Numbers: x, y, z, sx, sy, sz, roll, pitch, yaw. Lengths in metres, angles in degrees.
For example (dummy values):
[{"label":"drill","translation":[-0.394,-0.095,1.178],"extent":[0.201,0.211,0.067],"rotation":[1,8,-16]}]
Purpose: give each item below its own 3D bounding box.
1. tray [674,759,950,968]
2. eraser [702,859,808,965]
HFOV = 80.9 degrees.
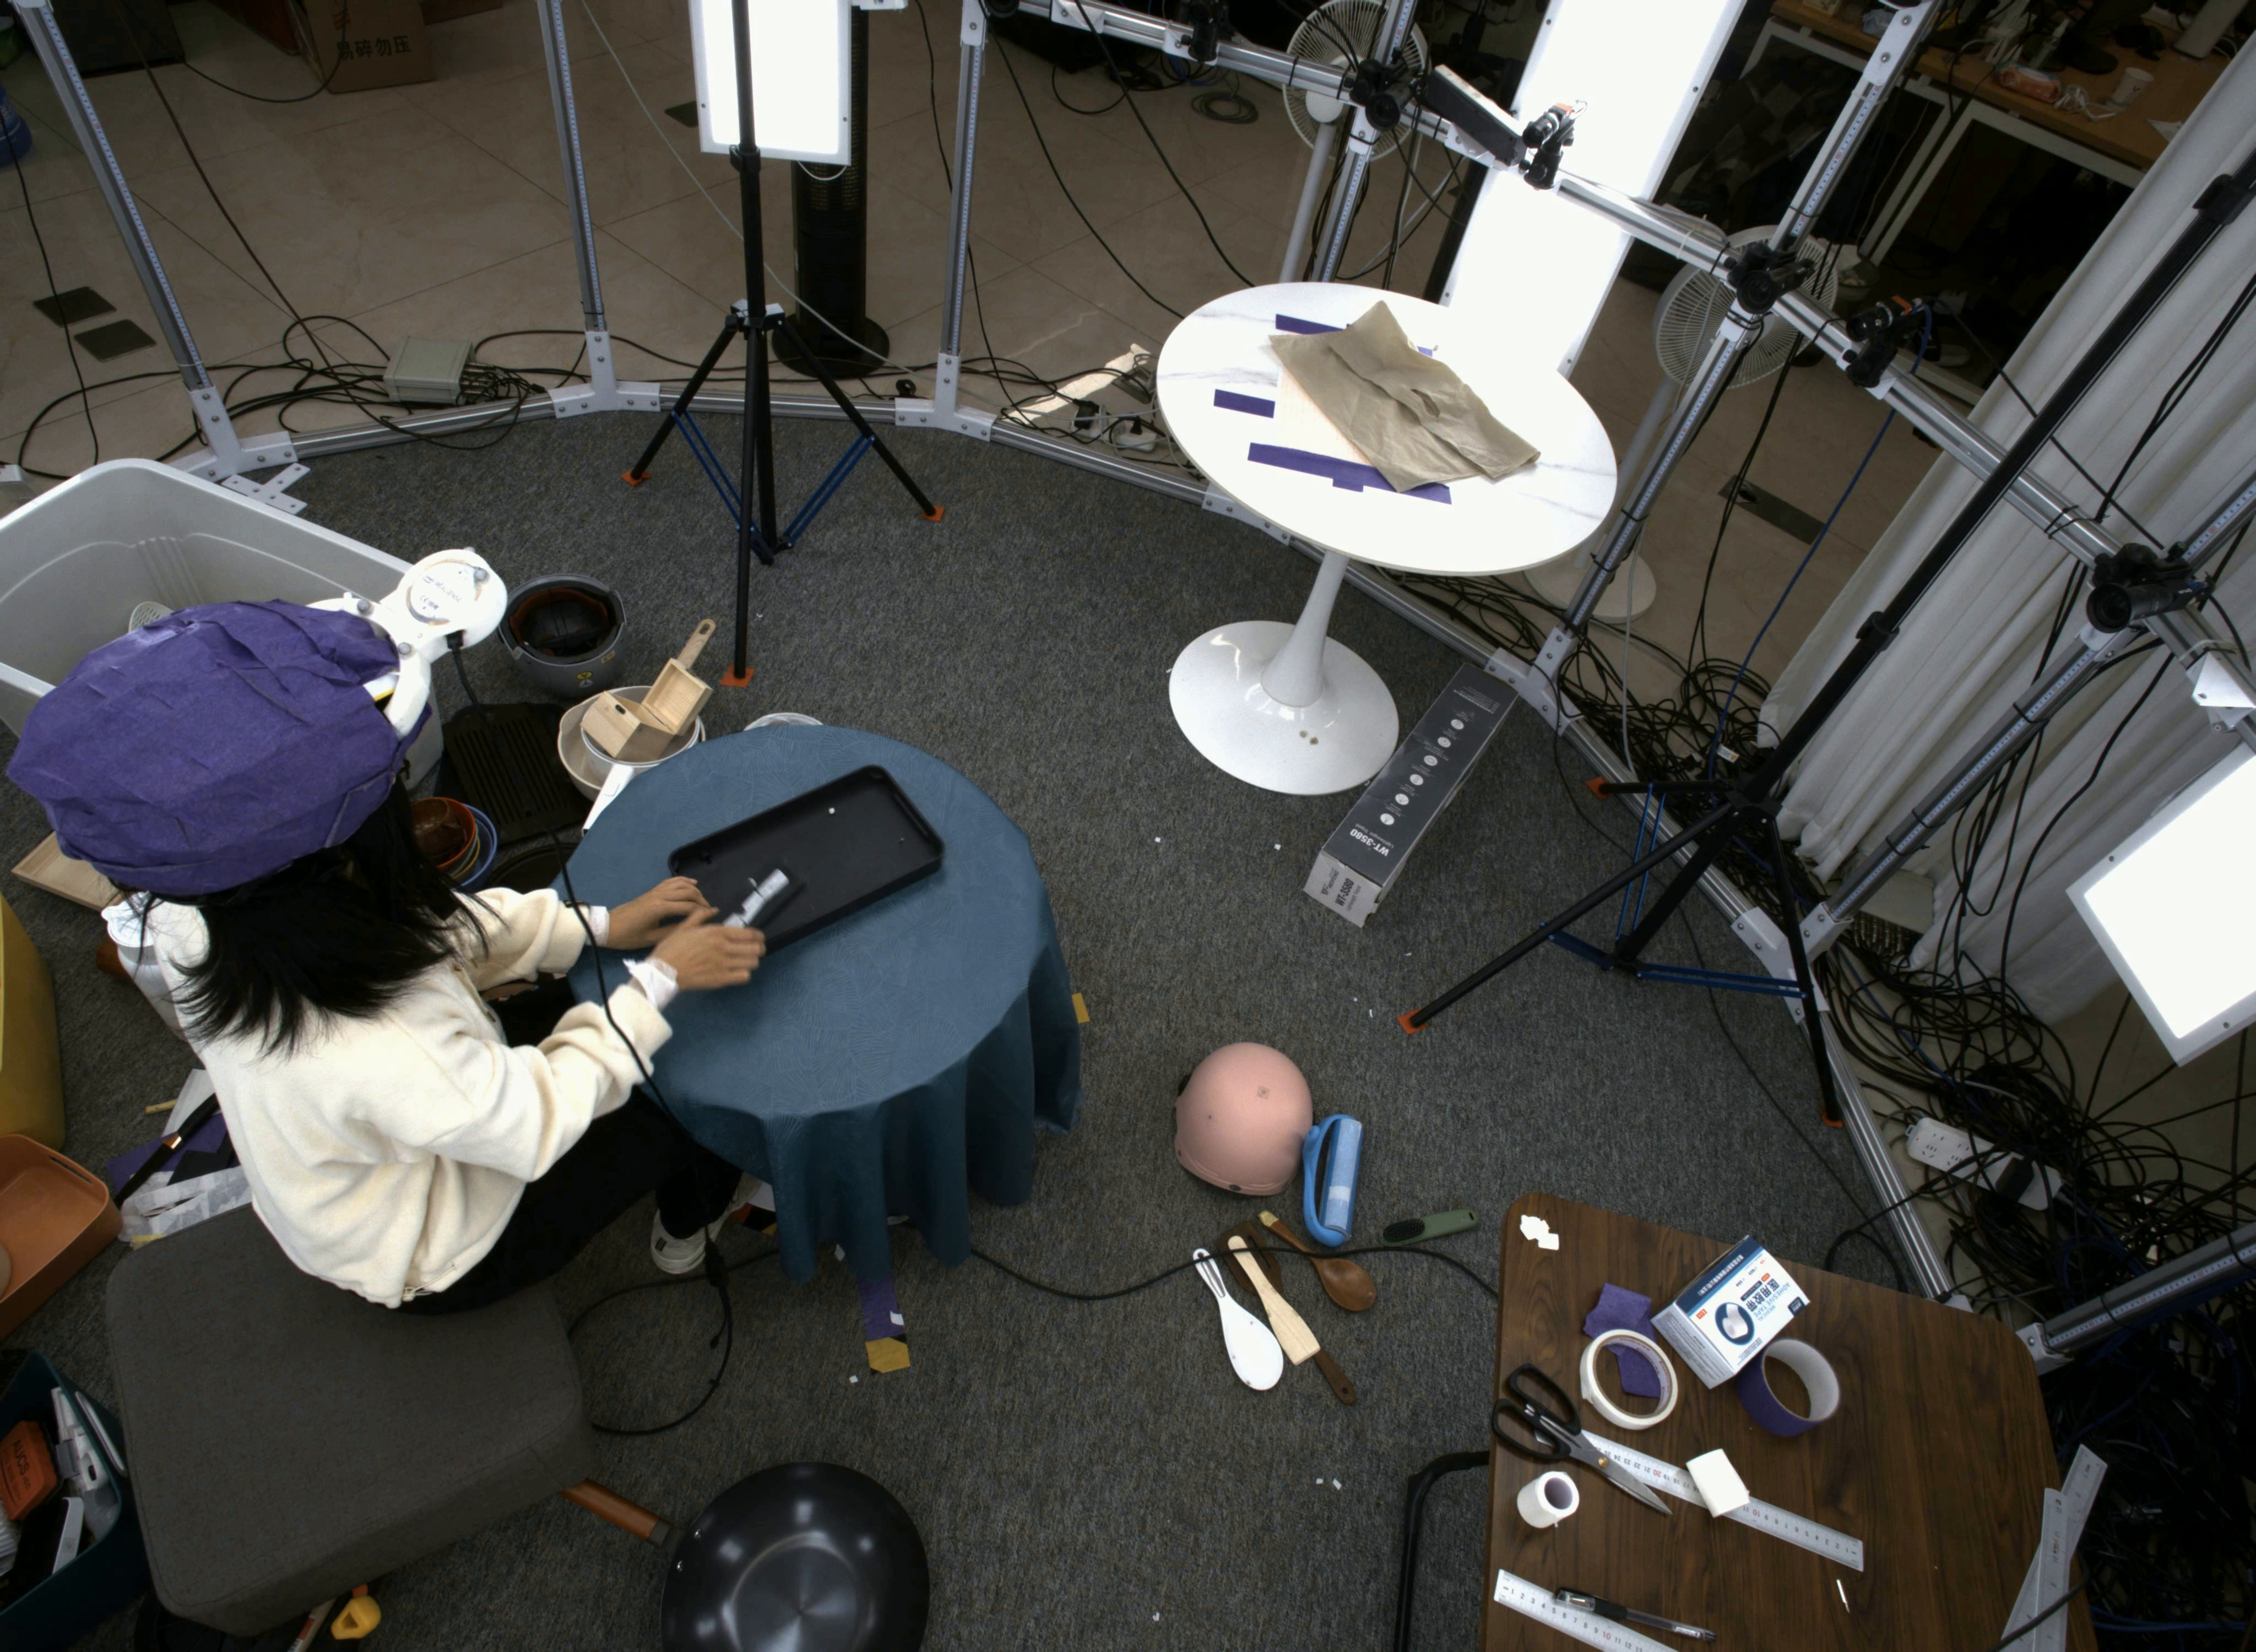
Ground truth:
[{"label":"tray","translation":[-0.403,0.040,1.670],"extent":[0.319,0.038,0.180],"rotation":[-31,66,-32]},{"label":"eraser","translation":[-0.440,0.099,1.529],"extent":[0.053,0.030,0.125],"rotation":[41,70,4]}]
